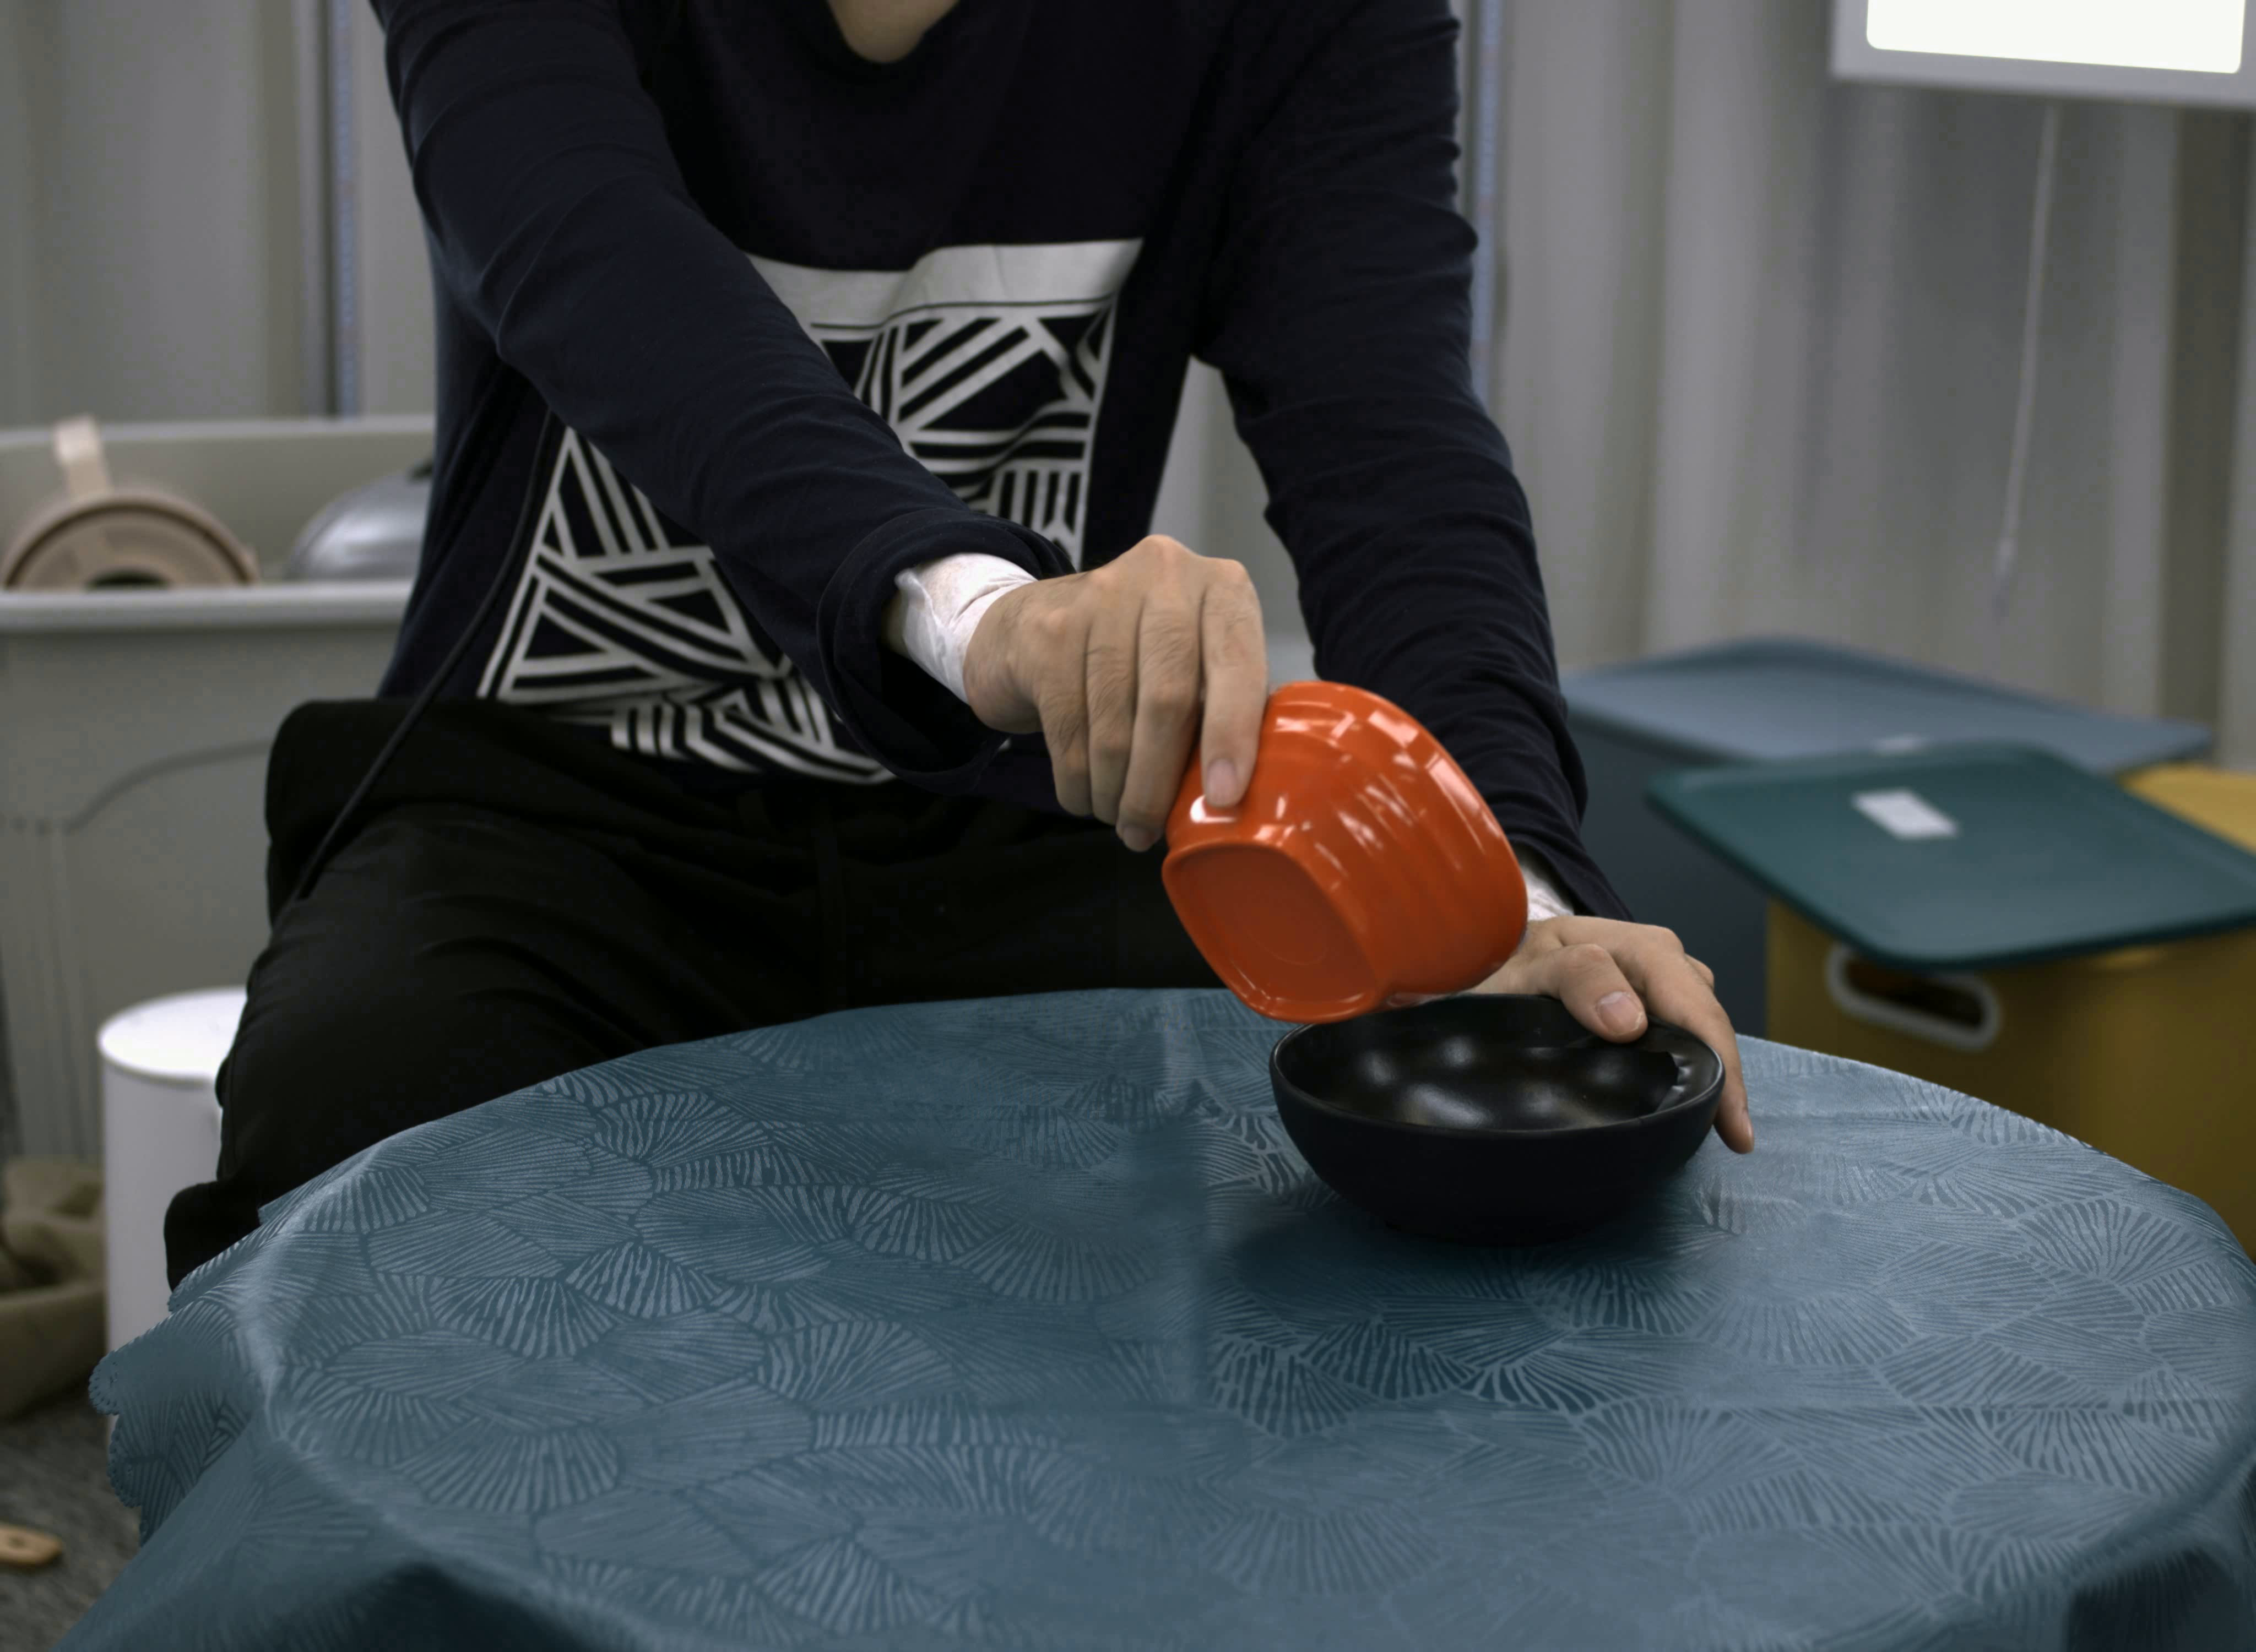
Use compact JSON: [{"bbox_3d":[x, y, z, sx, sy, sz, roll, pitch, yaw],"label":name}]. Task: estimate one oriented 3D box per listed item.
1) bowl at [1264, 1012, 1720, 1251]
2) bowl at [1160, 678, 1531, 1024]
[{"bbox_3d":[0.111,0.096,1.604,0.139,0.050,0.139,-1,12,1],"label":"bowl"},{"bbox_3d":[0.054,0.016,1.528,0.117,0.120,0.051,13,49,37],"label":"bowl"}]
